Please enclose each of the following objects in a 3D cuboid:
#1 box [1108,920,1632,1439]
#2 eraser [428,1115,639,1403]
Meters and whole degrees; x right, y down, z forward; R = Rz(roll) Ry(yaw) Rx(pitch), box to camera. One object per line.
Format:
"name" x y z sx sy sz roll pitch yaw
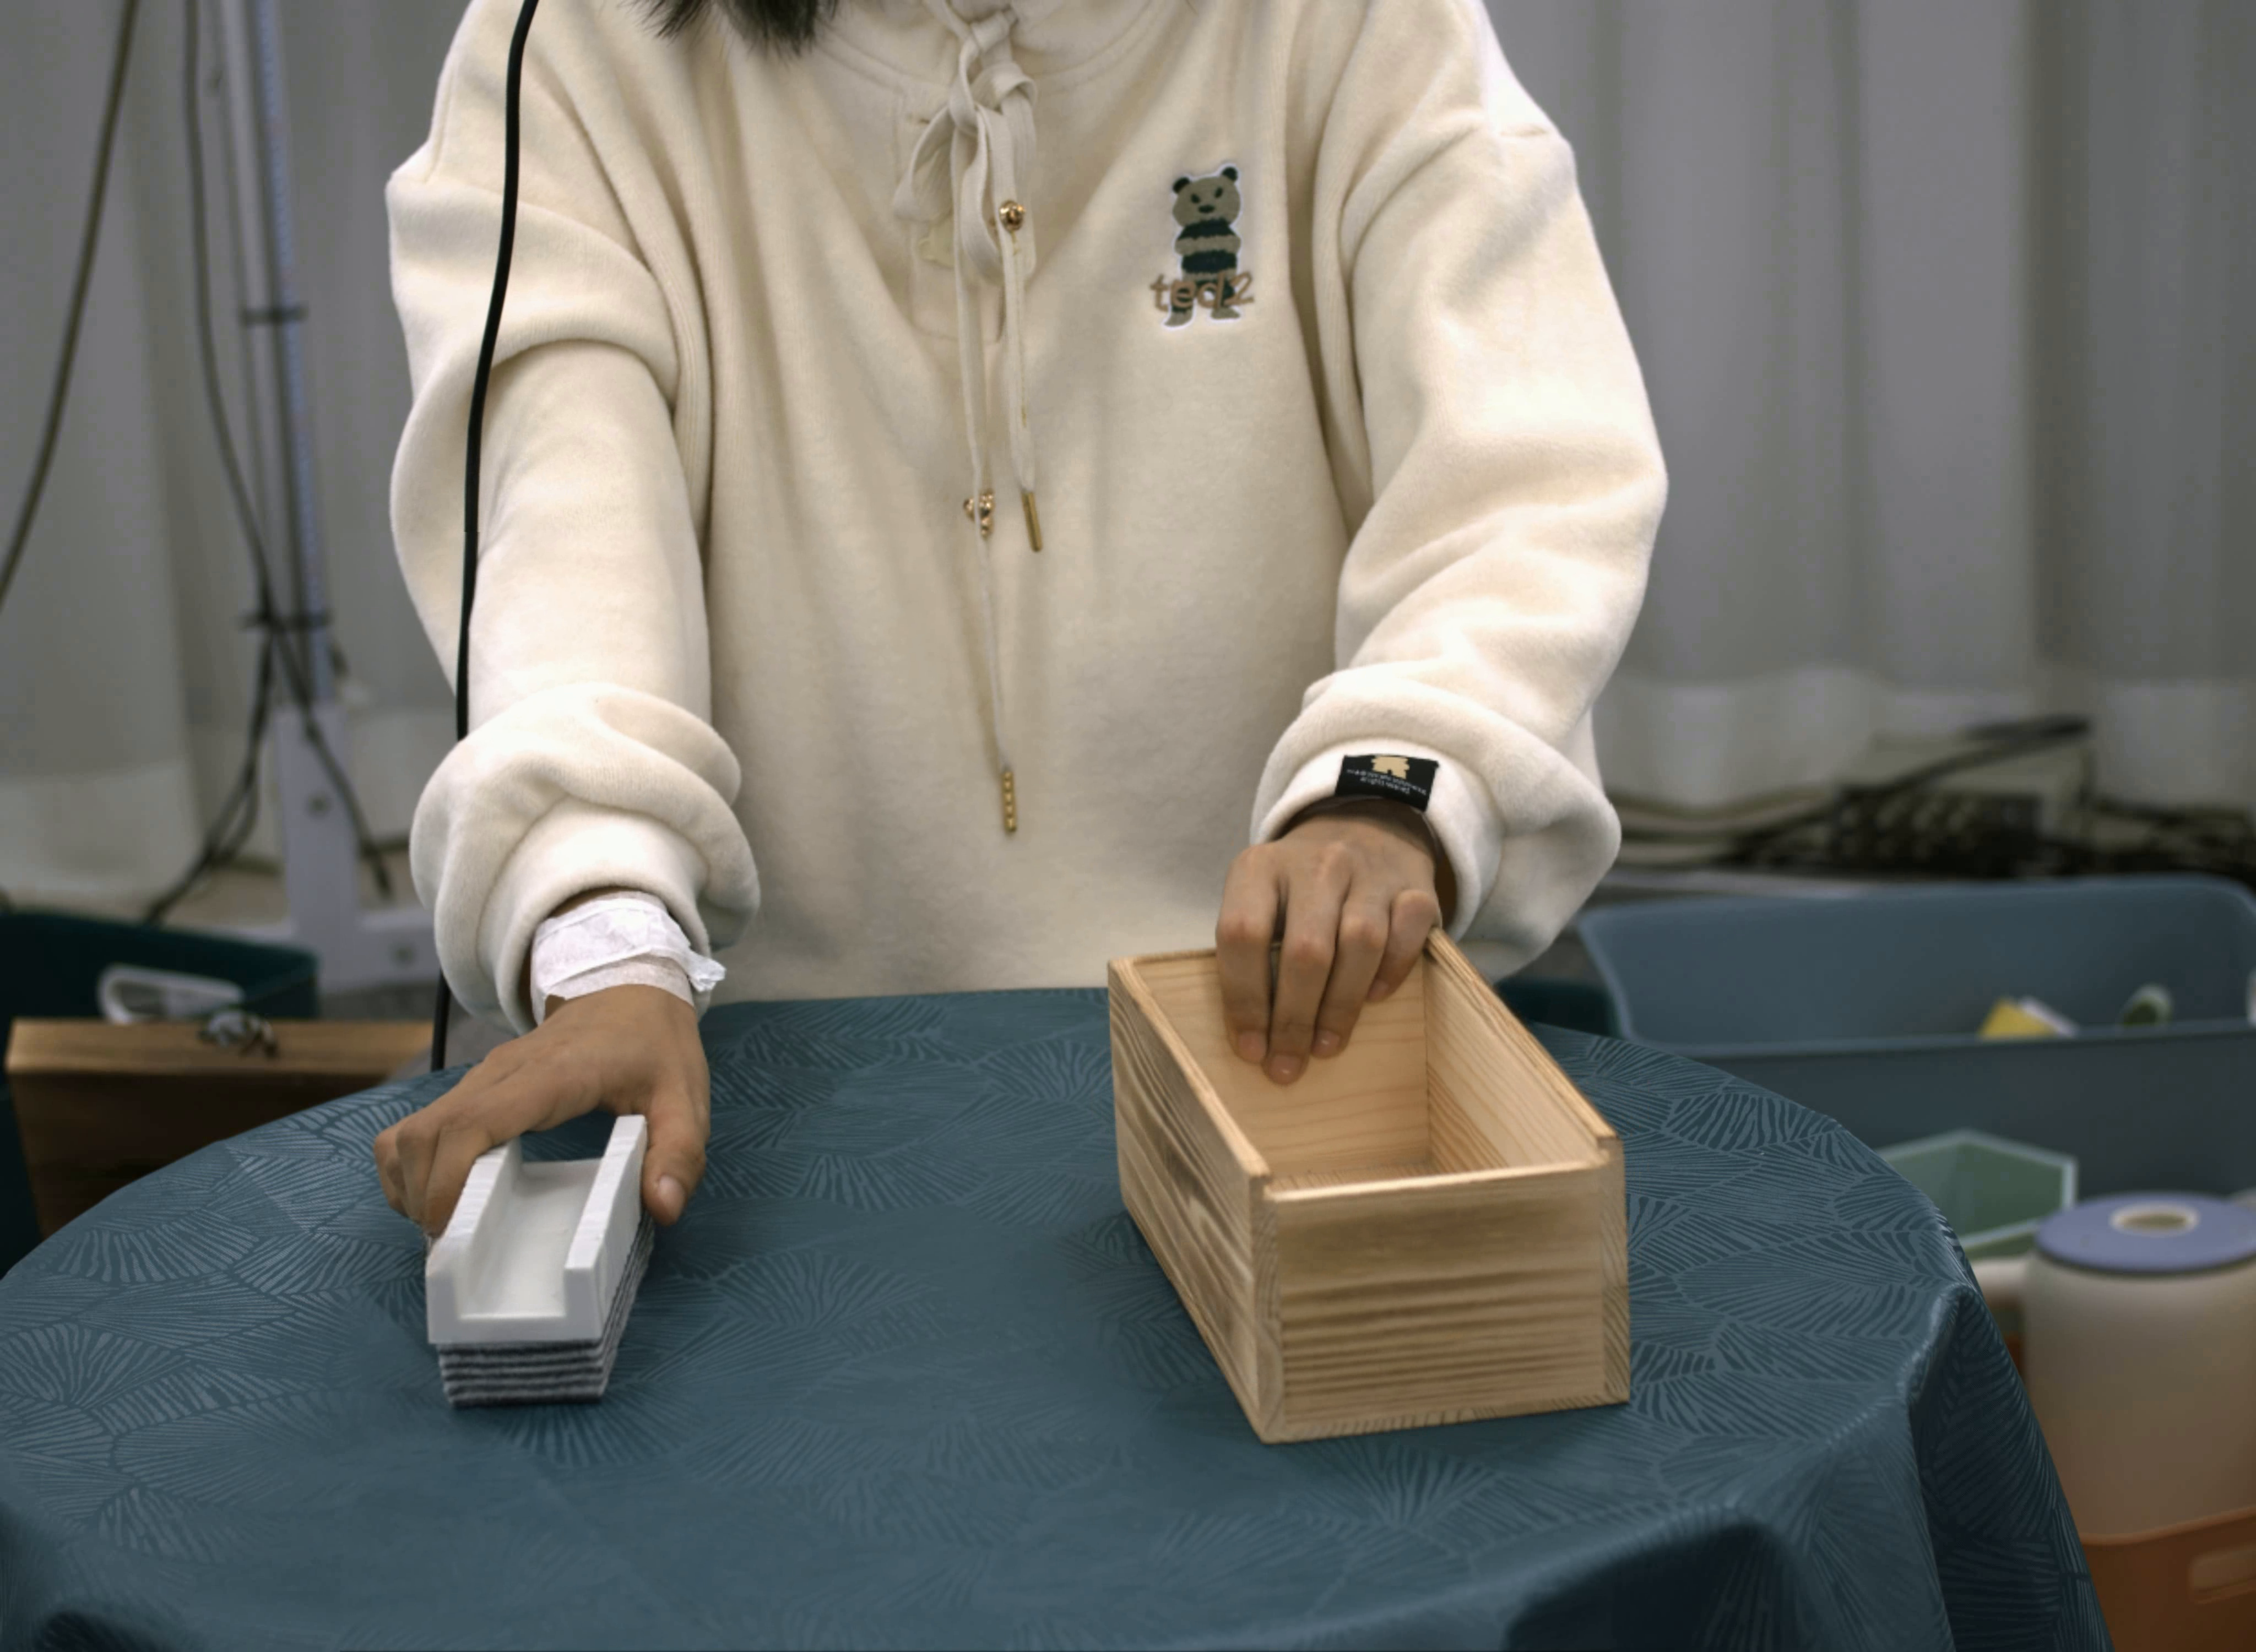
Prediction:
"box" 0.066 0.099 1.597 0.107 0.080 0.213 -4 16 -11
"eraser" -0.173 0.126 1.613 0.049 0.046 0.135 -5 16 1
